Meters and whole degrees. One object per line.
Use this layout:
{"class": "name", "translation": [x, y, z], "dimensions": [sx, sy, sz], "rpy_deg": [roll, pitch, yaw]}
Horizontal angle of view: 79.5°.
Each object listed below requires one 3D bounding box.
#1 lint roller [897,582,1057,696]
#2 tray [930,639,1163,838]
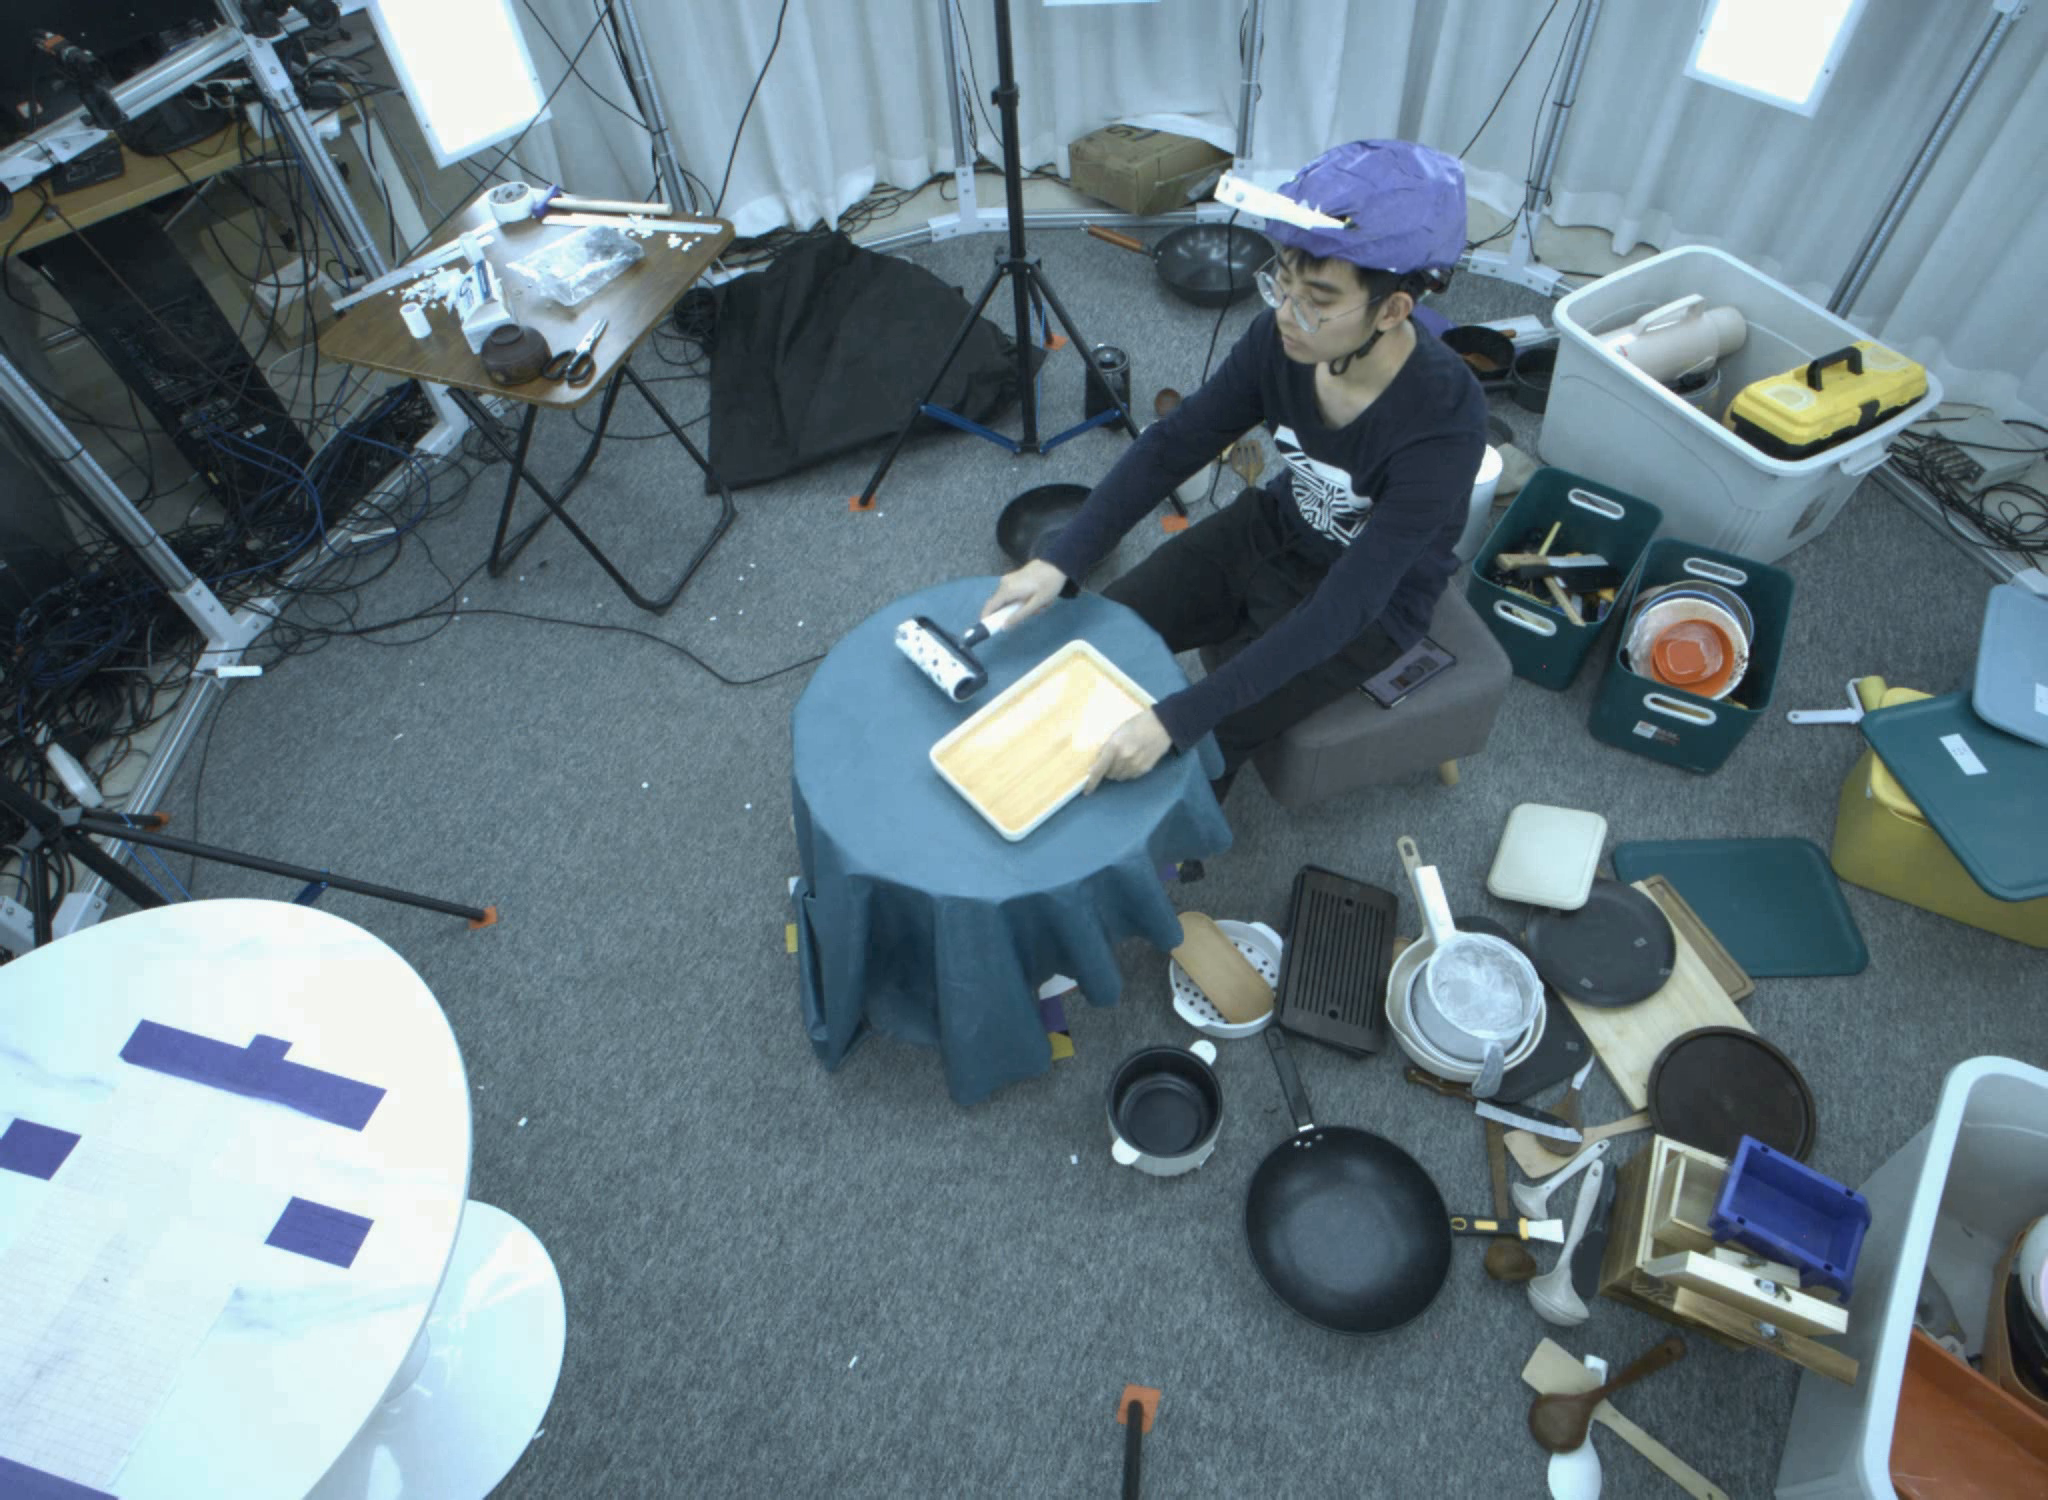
{"class": "lint roller", "translation": [-0.052, -0.194, 1.865], "dimensions": [0.249, 0.051, 0.172], "rpy_deg": [-36, 52, -18]}
{"class": "tray", "translation": [0.034, -0.022, 1.768], "dimensions": [0.302, 0.028, 0.188], "rpy_deg": [-38, 64, -19]}
